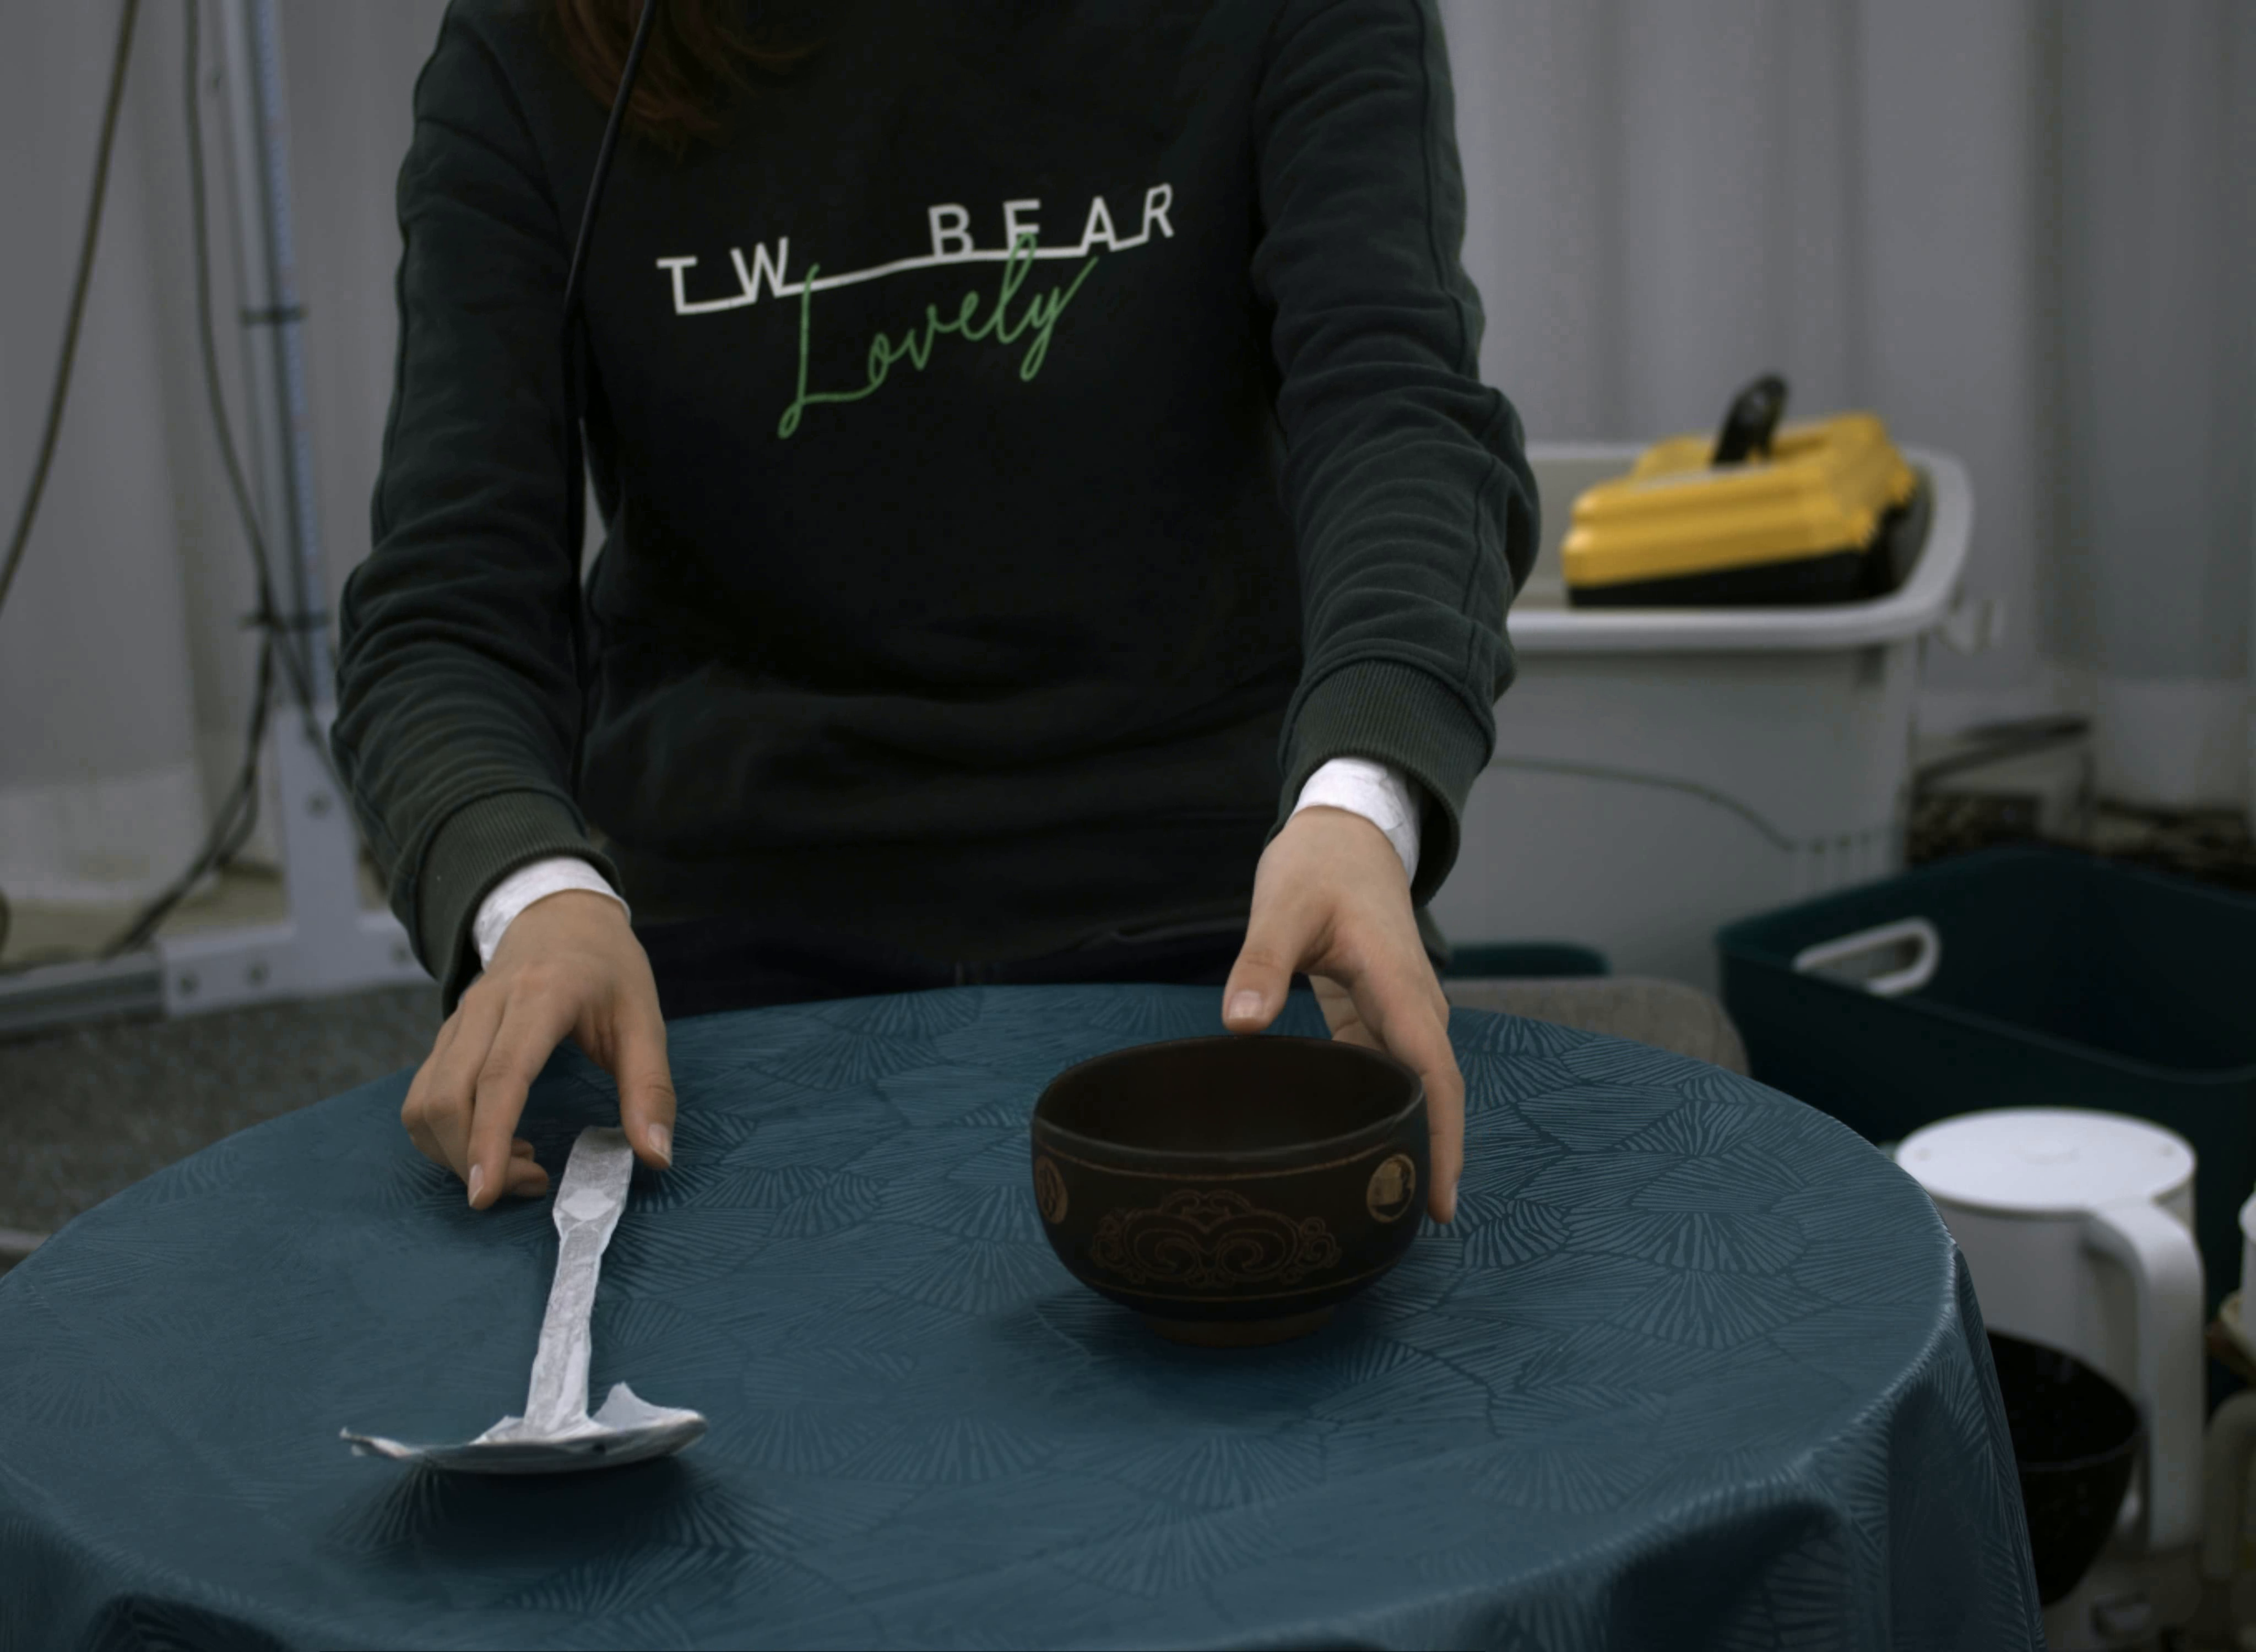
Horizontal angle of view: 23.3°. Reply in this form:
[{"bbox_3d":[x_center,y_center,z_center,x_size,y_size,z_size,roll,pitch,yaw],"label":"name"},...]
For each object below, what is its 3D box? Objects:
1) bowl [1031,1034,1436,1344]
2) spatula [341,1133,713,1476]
[{"bbox_3d":[0.031,0.109,1.592,0.117,0.069,0.119,-1,14,0],"label":"bowl"},{"bbox_3d":[-0.159,0.132,1.607,0.098,0.044,0.367,-5,15,1],"label":"spatula"}]
